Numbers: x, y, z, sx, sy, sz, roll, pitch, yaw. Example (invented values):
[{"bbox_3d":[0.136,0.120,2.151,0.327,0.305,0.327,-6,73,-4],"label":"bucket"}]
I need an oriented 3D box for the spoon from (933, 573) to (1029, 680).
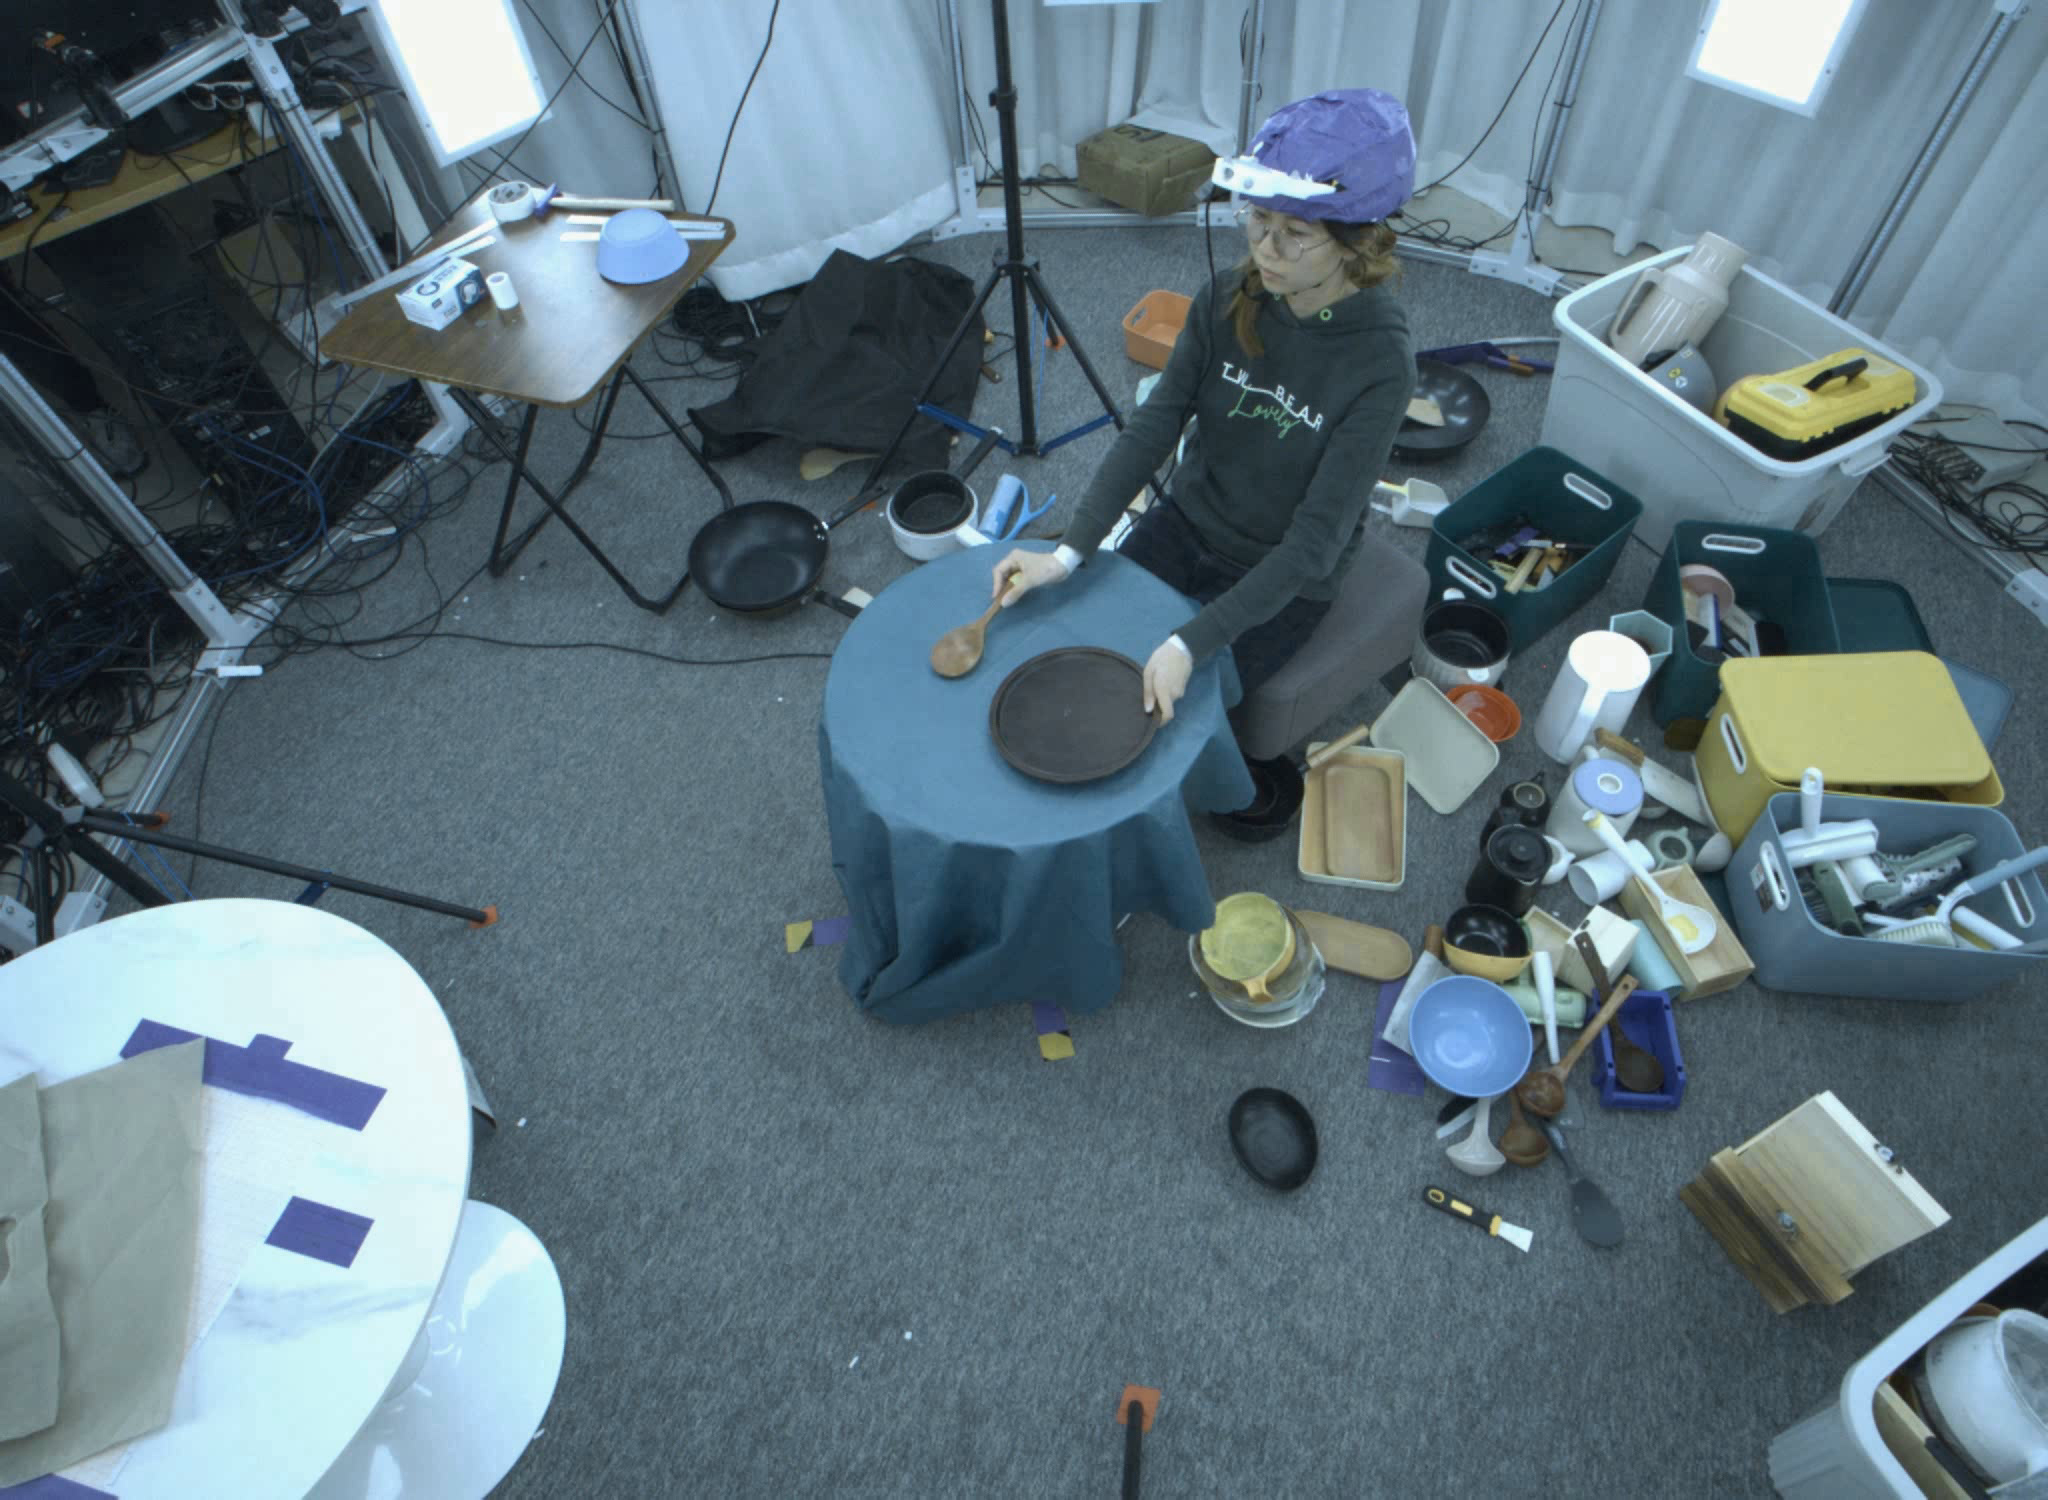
[{"bbox_3d":[-0.062,-0.193,1.905,0.074,0.017,0.216,32,73,18],"label":"spoon"}]

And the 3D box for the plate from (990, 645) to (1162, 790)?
[{"bbox_3d":[0.076,-0.047,1.805,0.254,0.029,0.252,-3,55,5],"label":"plate"}]
